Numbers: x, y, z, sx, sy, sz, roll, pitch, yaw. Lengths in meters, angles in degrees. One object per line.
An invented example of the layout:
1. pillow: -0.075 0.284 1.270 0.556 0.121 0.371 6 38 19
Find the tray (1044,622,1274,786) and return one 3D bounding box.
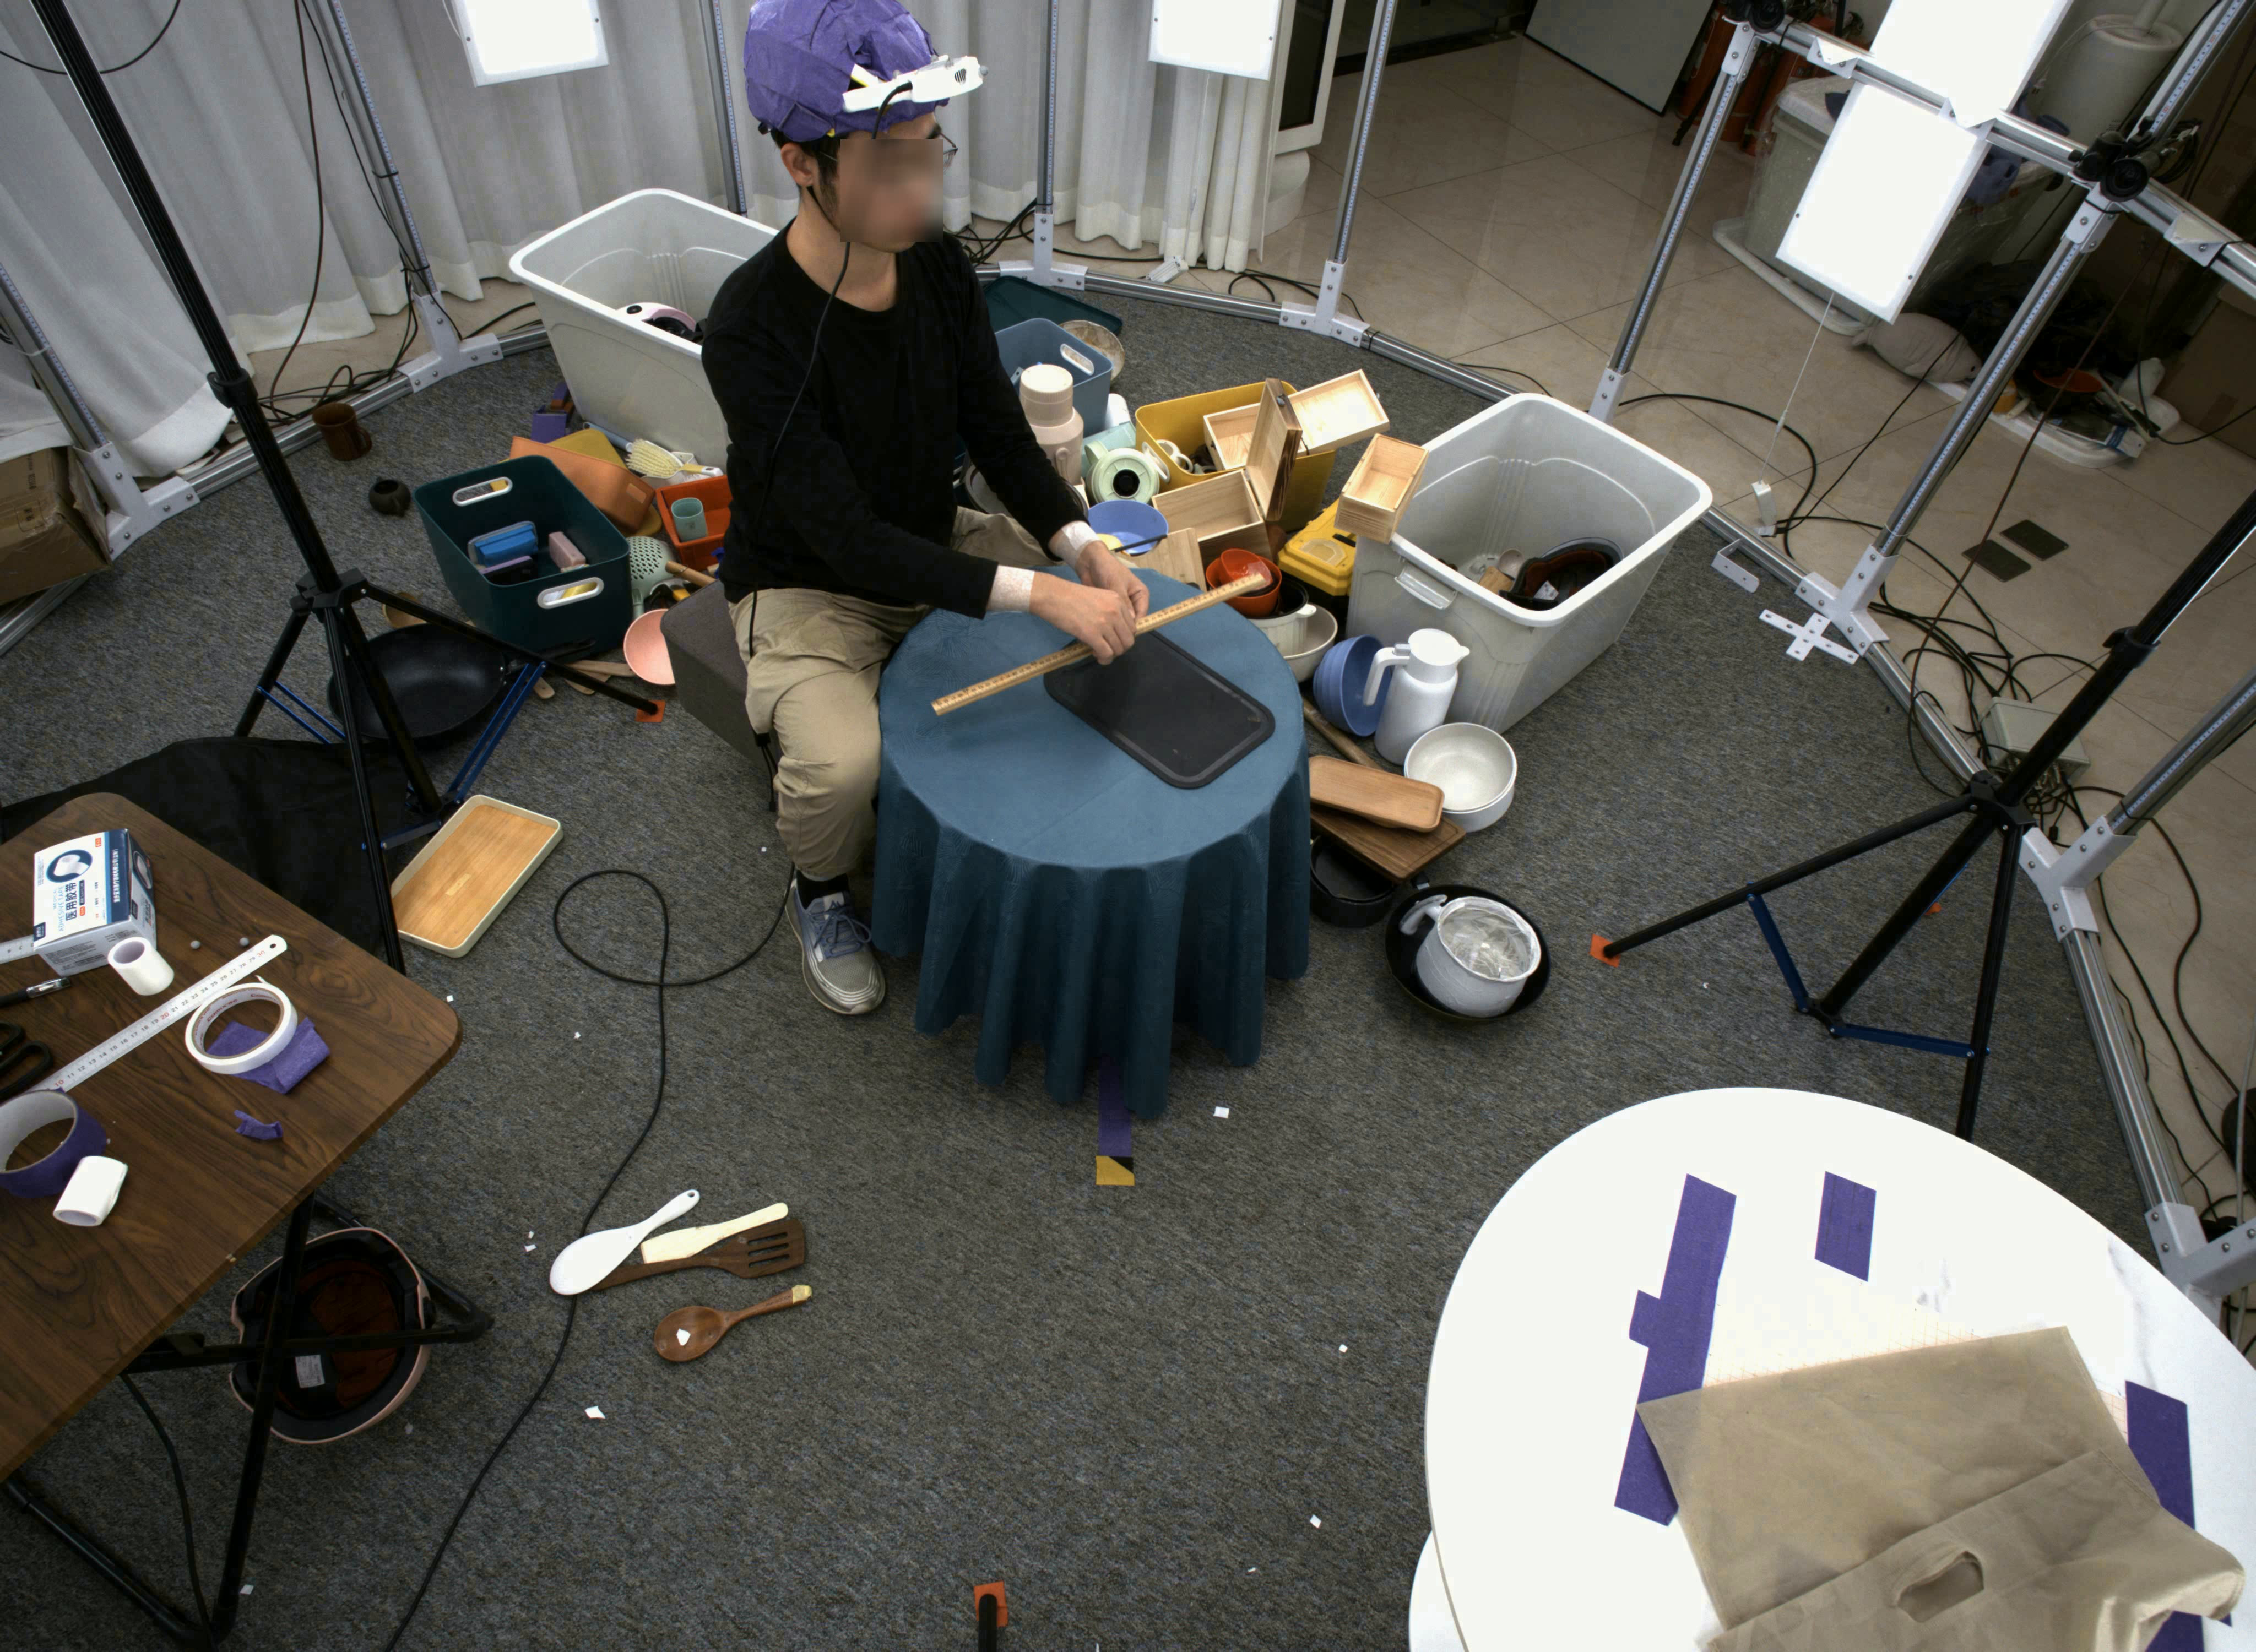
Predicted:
1. tray: 0.037 -0.185 1.828 0.213 0.009 0.330 -35 60 -29

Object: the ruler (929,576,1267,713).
1. ruler: -0.036 -0.254 1.769 0.501 0.006 0.027 -22 51 -11
